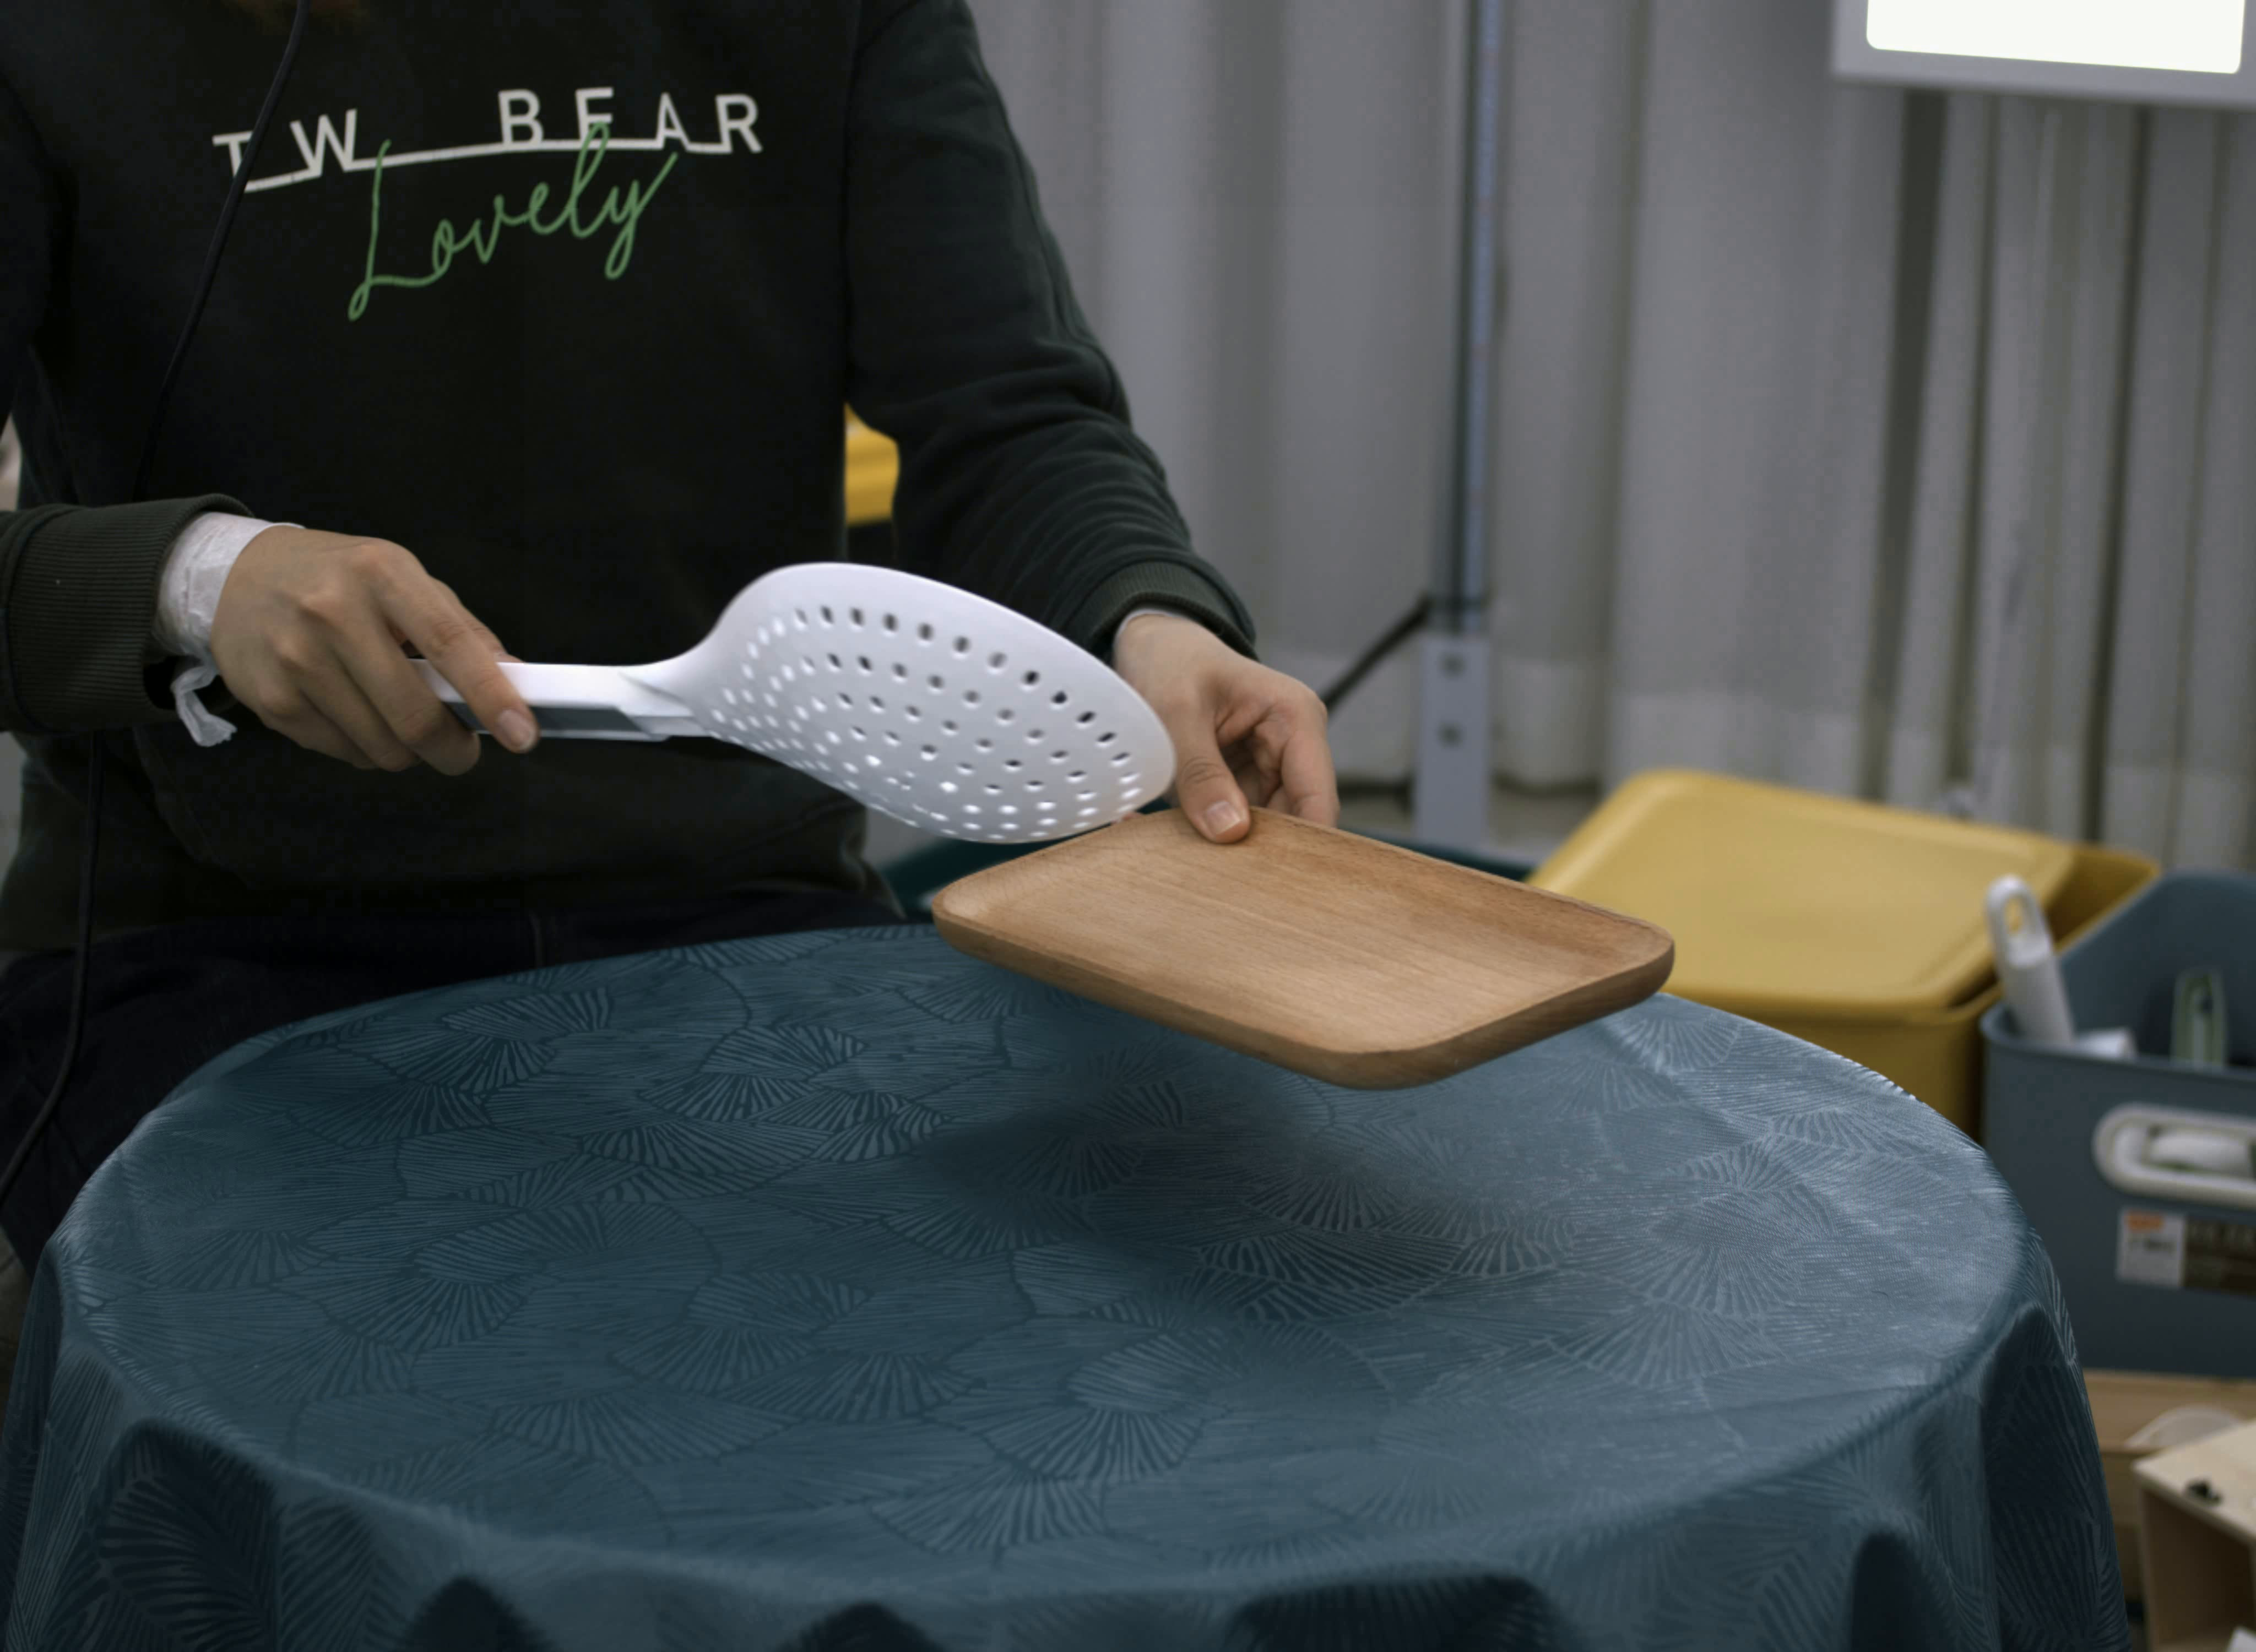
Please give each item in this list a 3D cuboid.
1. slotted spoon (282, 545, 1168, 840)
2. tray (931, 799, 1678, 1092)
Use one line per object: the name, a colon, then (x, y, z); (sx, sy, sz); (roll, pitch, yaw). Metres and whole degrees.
slotted spoon: (-0.136, -0.039, 1.604); (0.345, 0.045, 0.138); (8, -27, 42)
tray: (0.050, 0.034, 1.606); (0.131, 0.023, 0.247); (-16, 19, -32)
